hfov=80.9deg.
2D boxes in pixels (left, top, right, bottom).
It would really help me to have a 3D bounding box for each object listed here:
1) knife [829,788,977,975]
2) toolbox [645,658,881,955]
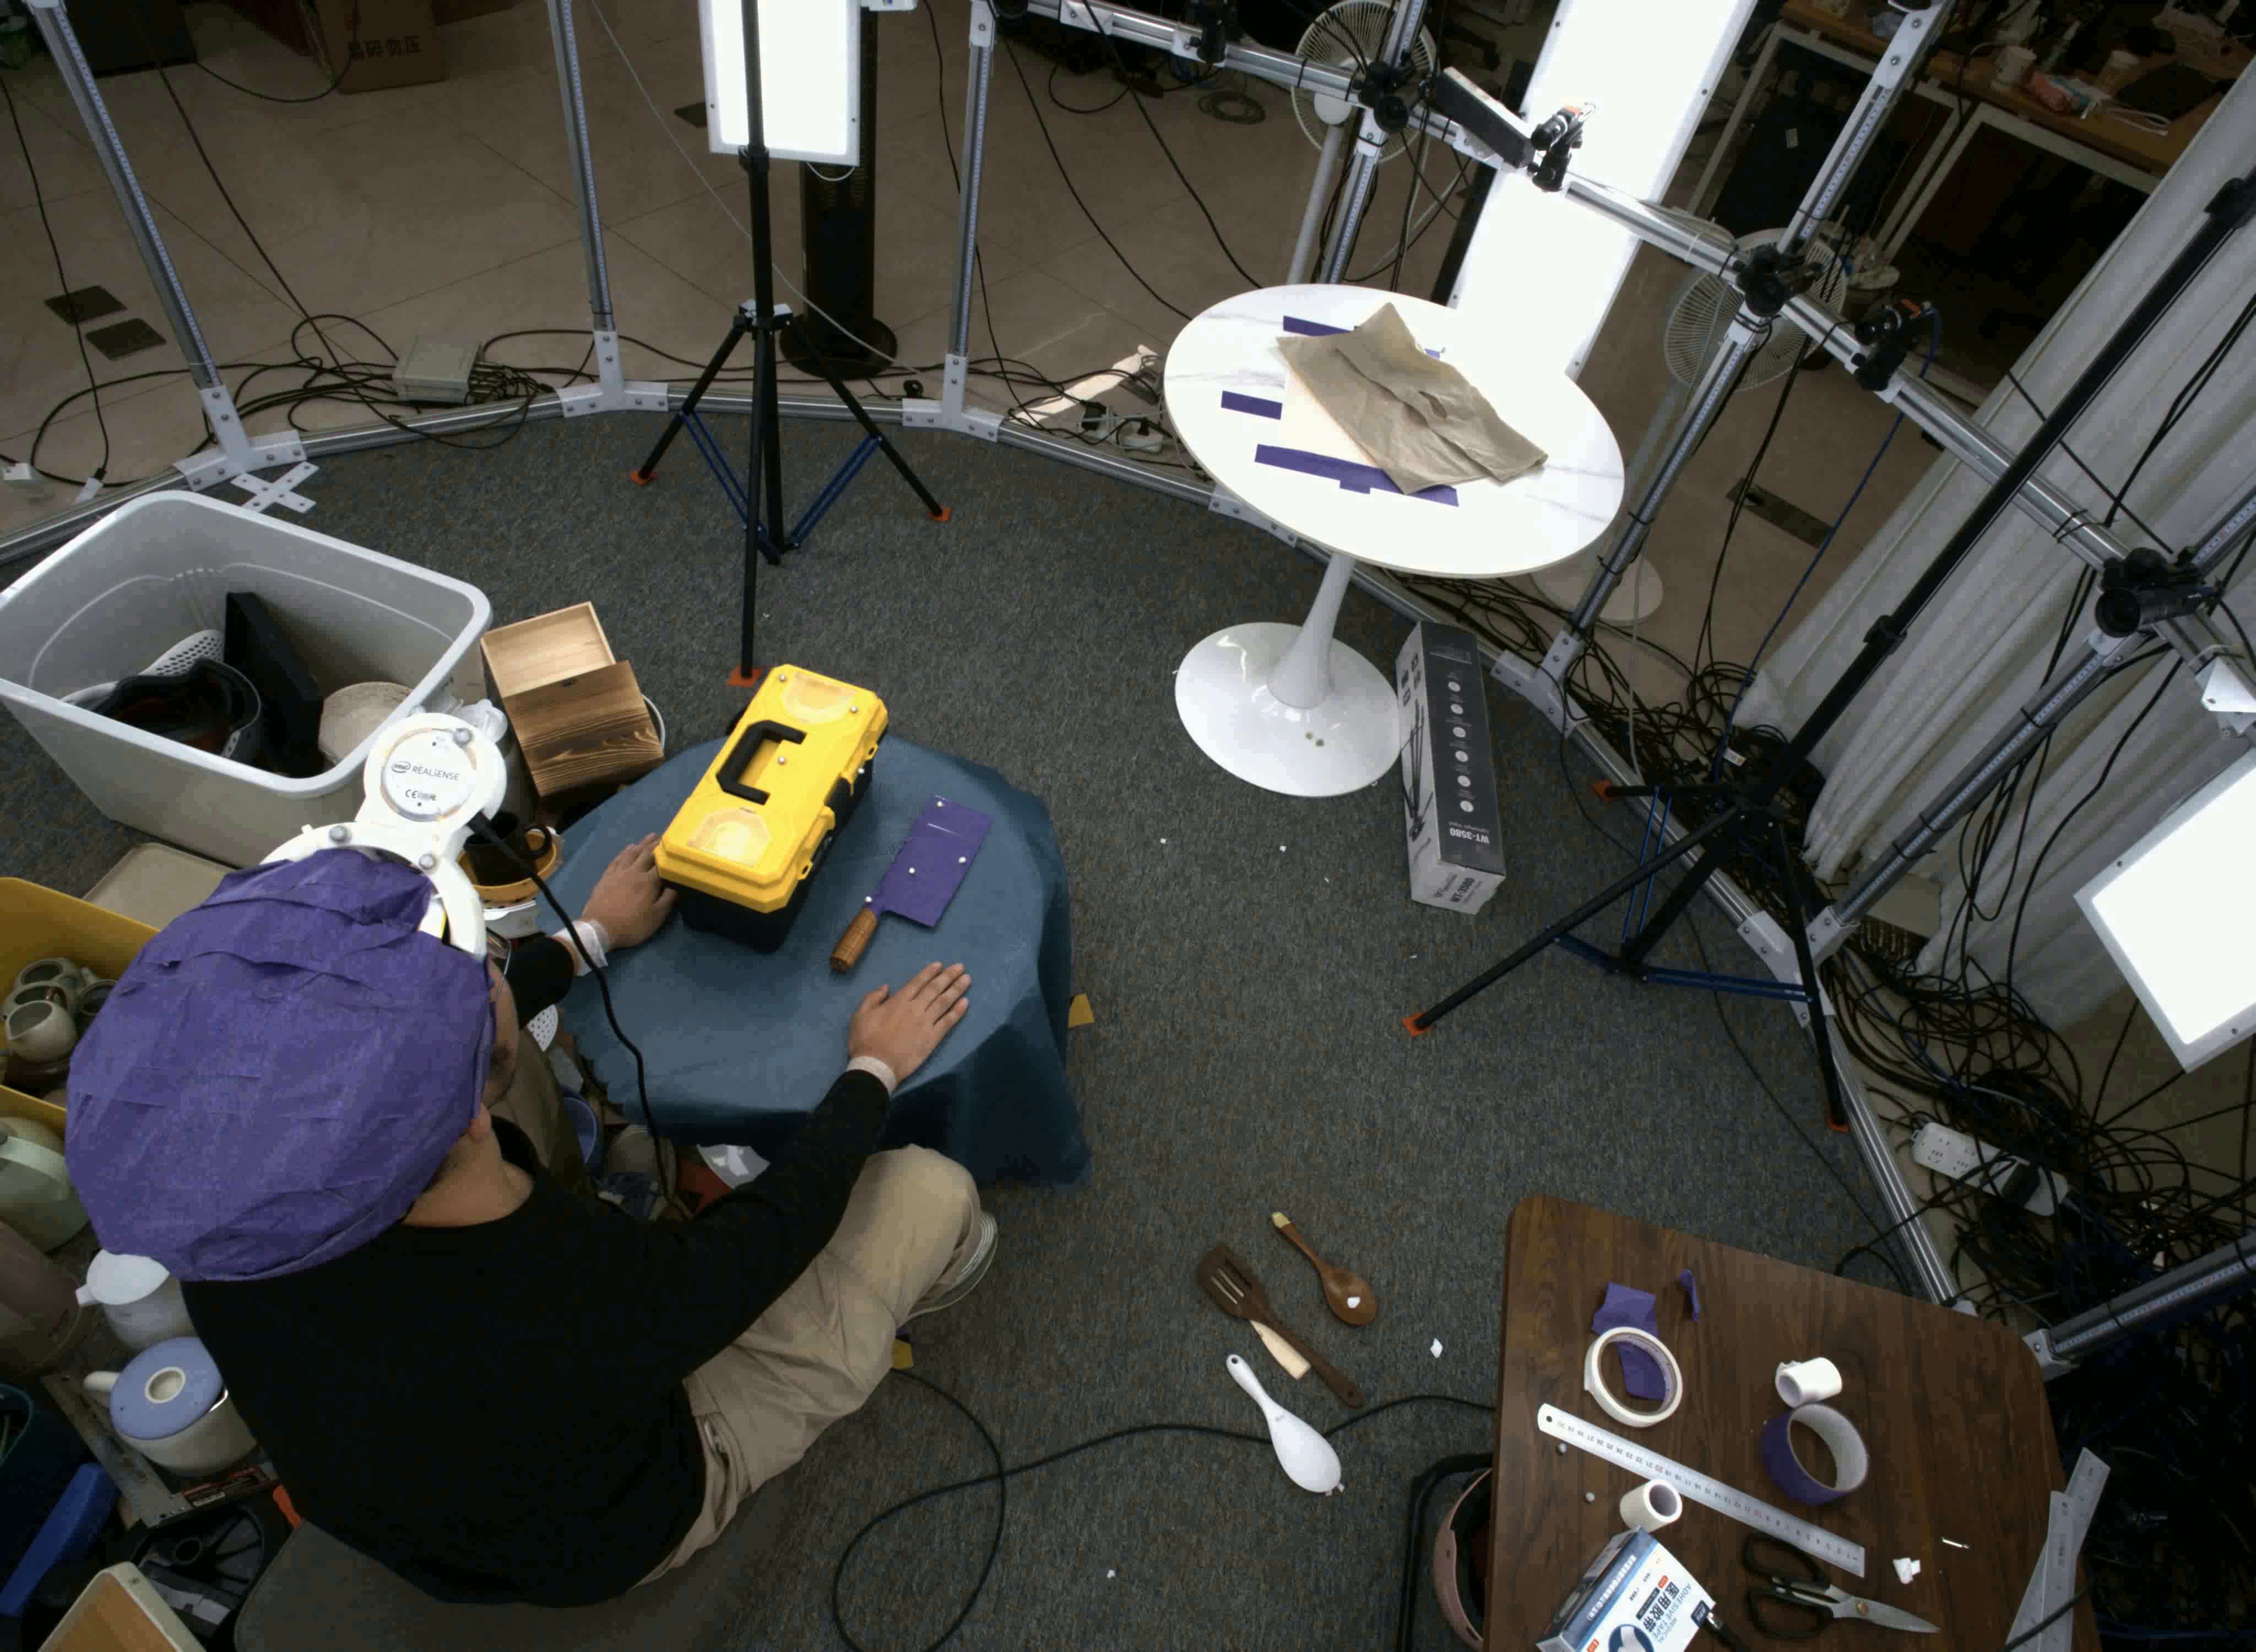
[{"bbox_3d":[-0.282,0.071,1.686,0.103,0.033,0.312,20,51,1],"label":"knife"},{"bbox_3d":[-0.447,-0.026,1.620,0.179,0.176,0.347,18,52,2],"label":"toolbox"}]
